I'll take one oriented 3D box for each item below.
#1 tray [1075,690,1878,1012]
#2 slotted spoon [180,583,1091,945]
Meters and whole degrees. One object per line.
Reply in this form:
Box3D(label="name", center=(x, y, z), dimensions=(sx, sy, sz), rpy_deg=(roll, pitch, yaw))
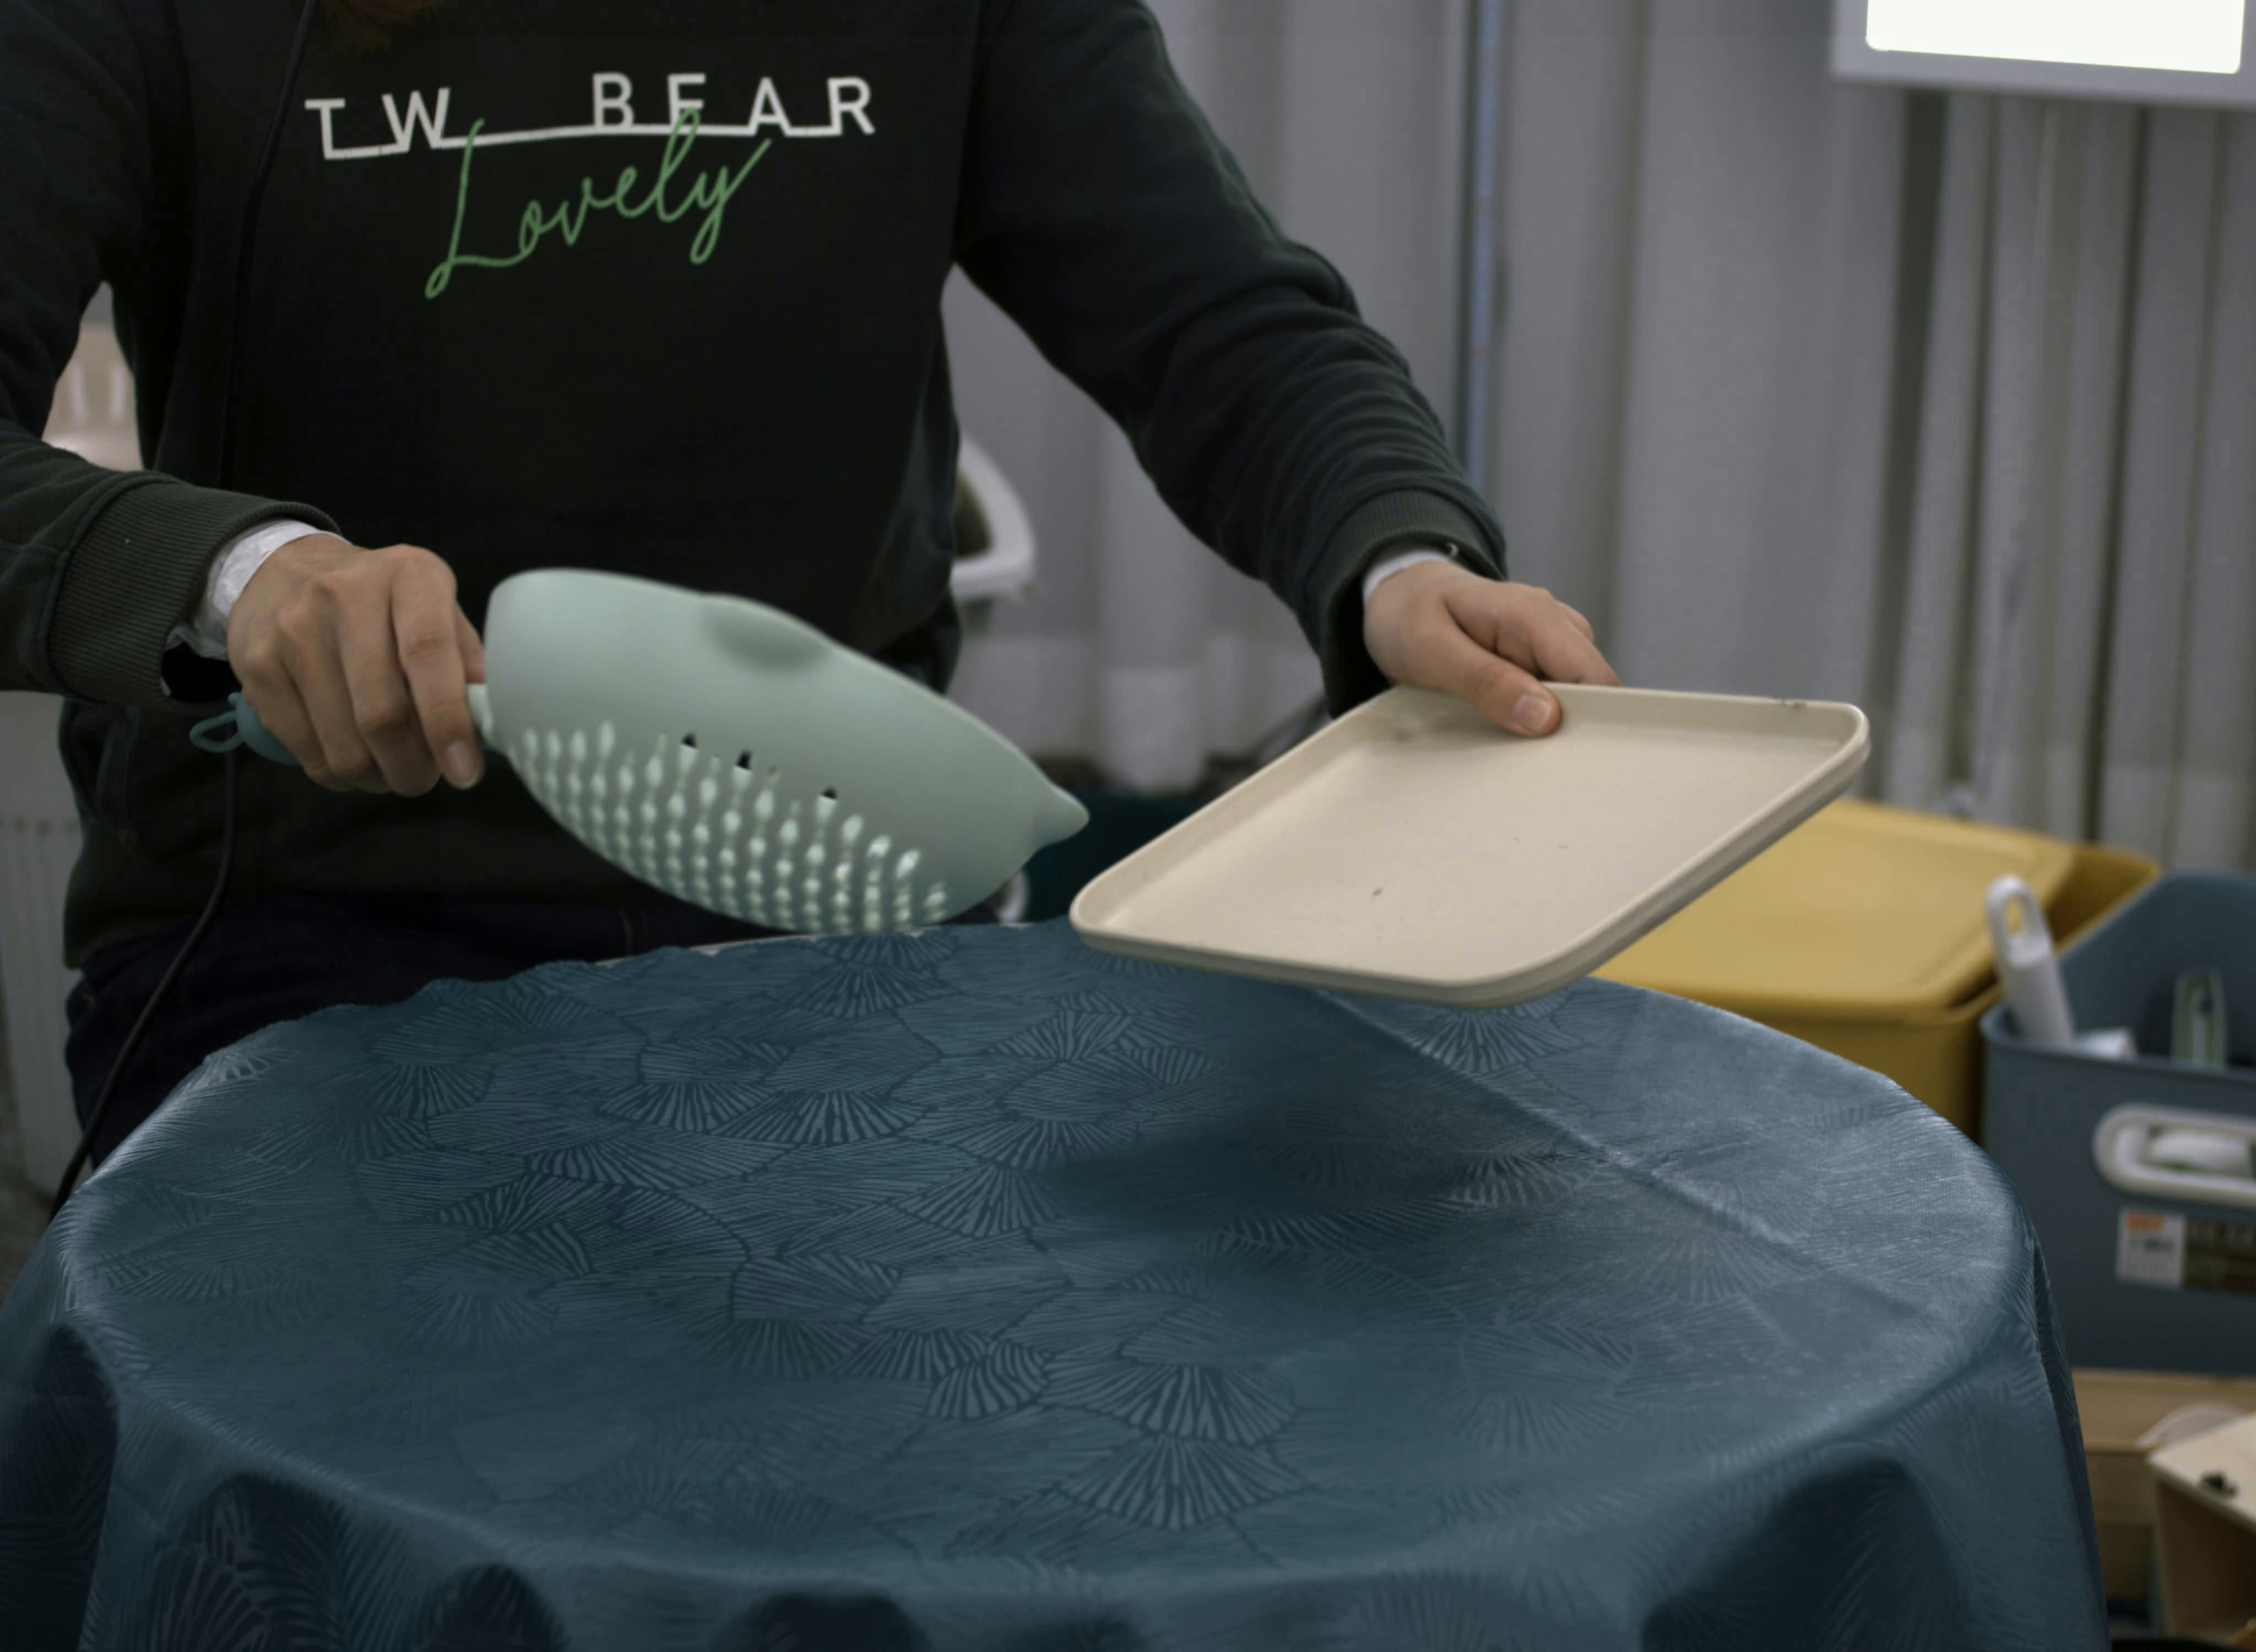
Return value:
Box3D(label="tray", center=(0.104, 0.006, 1.605), dimensions=(0.171, 0.017, 0.237), rpy_deg=(-33, 21, -29))
Box3D(label="slotted spoon", center=(-0.168, -0.023, 1.524), dimensions=(0.171, 0.075, 0.354), rpy_deg=(33, -12, -39))
